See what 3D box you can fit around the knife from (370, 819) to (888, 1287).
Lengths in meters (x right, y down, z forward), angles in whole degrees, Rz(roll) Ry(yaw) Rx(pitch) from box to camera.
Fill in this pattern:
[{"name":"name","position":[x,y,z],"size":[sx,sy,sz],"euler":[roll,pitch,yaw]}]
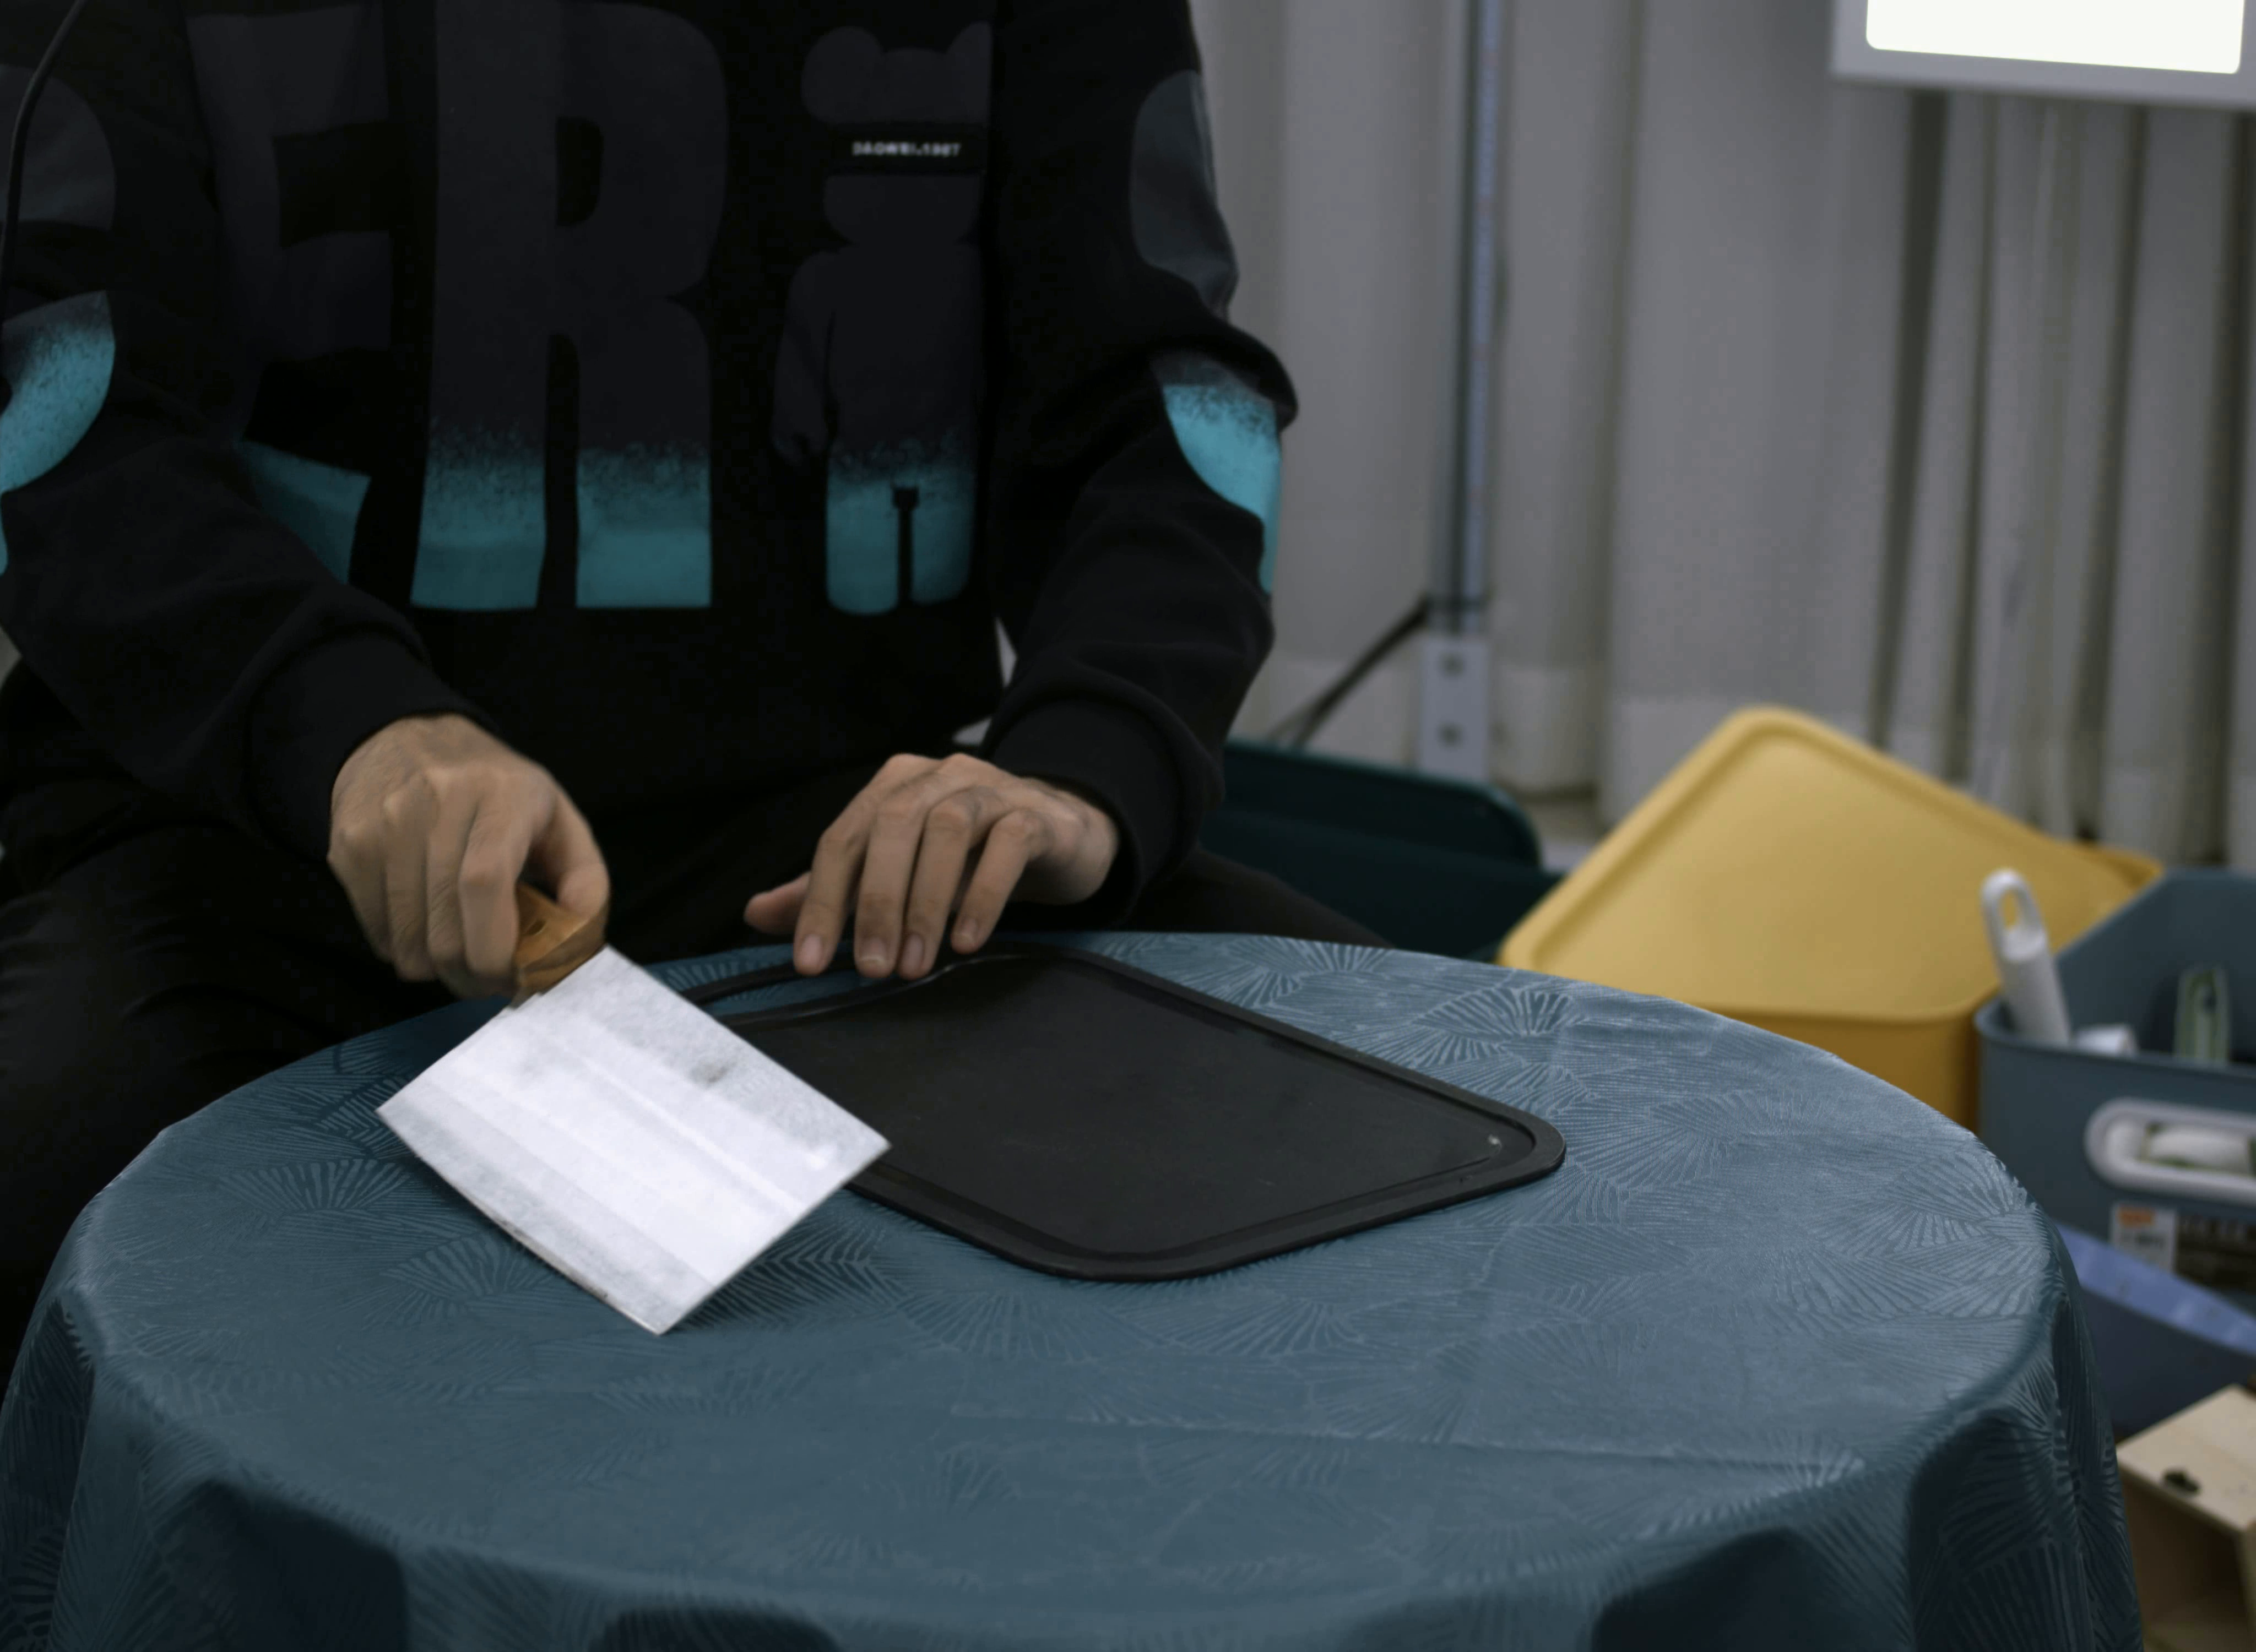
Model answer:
[{"name":"knife","position":[-0.178,0.070,1.632],"size":[0.093,0.021,0.301],"euler":[-41,35,-14]}]

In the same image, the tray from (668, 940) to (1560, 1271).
[{"name":"tray","position":[-0.028,0.084,1.710],"size":[0.212,0.010,0.321],"euler":[-12,20,-37]}]
